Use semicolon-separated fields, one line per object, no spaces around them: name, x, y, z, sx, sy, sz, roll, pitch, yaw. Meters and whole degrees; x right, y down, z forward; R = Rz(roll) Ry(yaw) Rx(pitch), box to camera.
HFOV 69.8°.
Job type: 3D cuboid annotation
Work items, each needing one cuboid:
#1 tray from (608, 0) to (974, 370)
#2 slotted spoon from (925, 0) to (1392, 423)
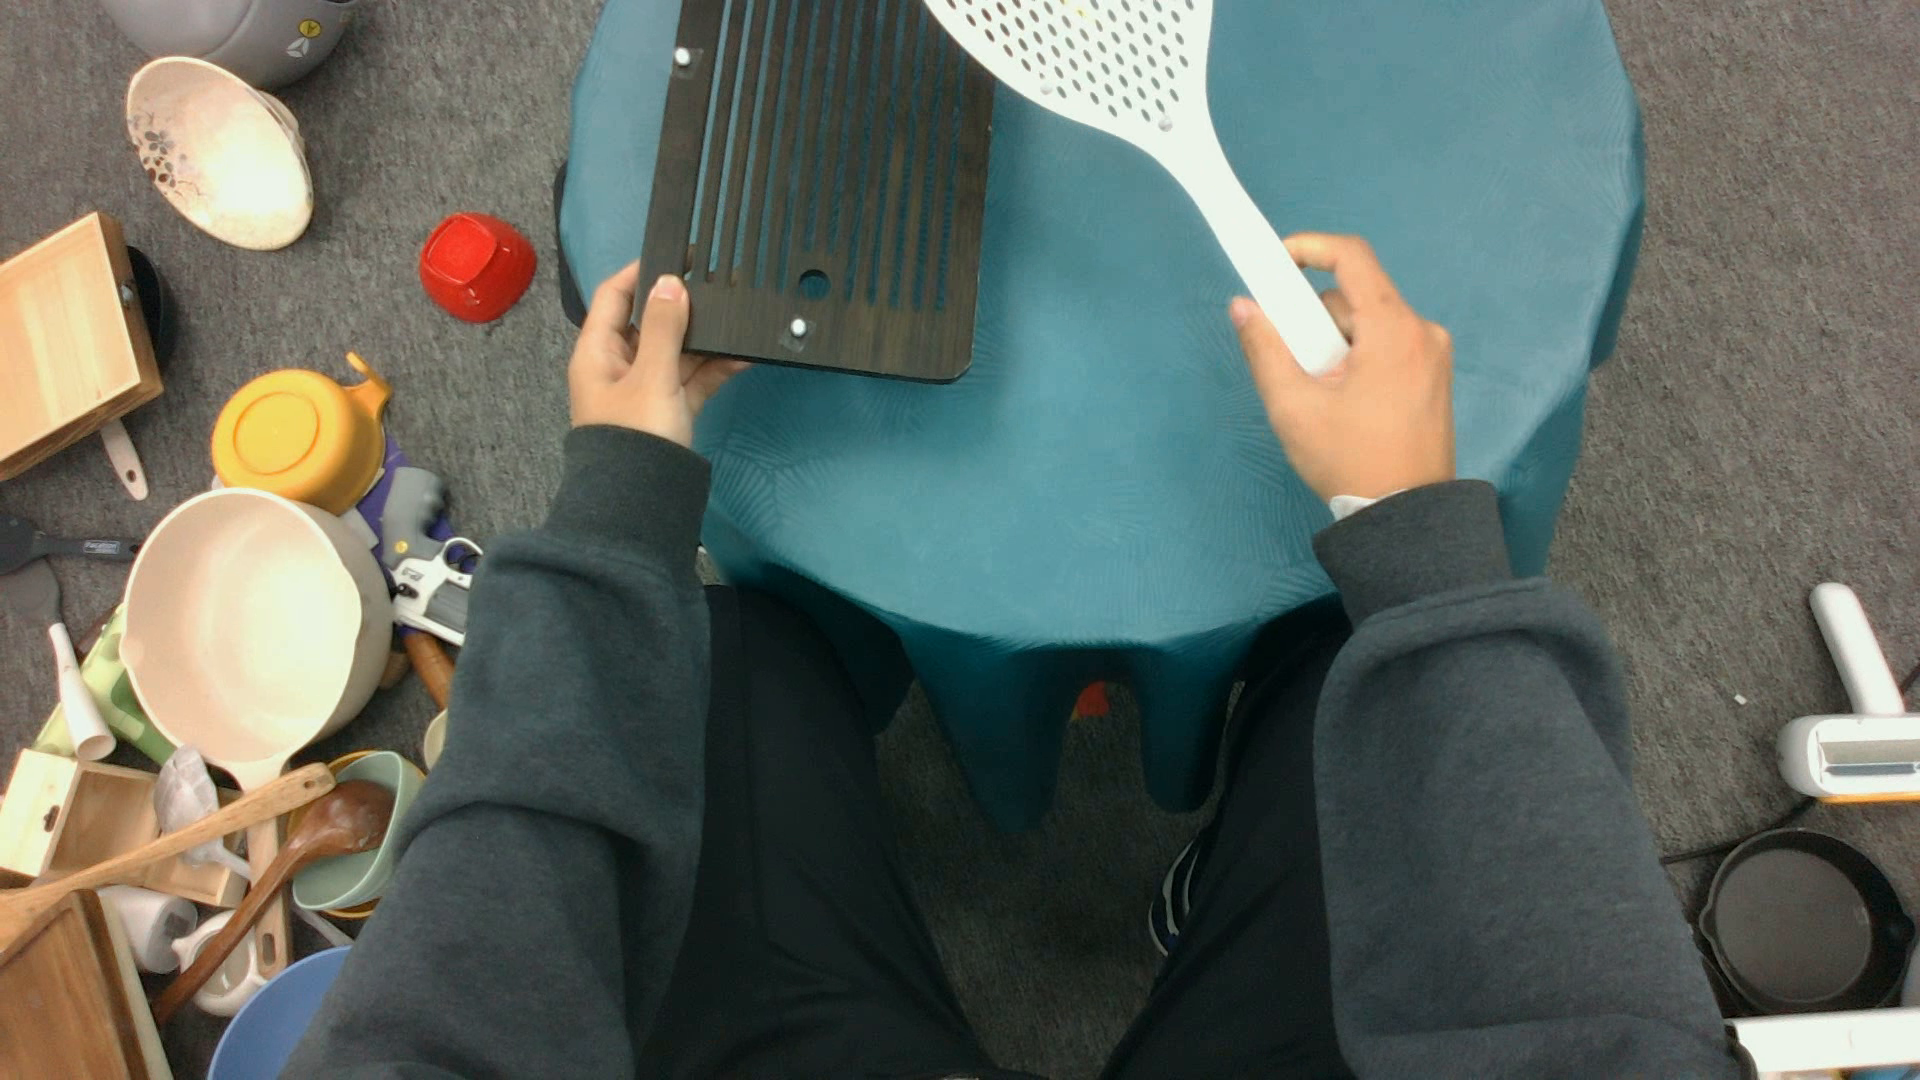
tray;-0.081;-0.237;0.732;0.170;0.018;0.307;6;72;-6
slotted spoon;0.098;-0.200;0.646;0.137;0.050;0.348;-32;84;4
